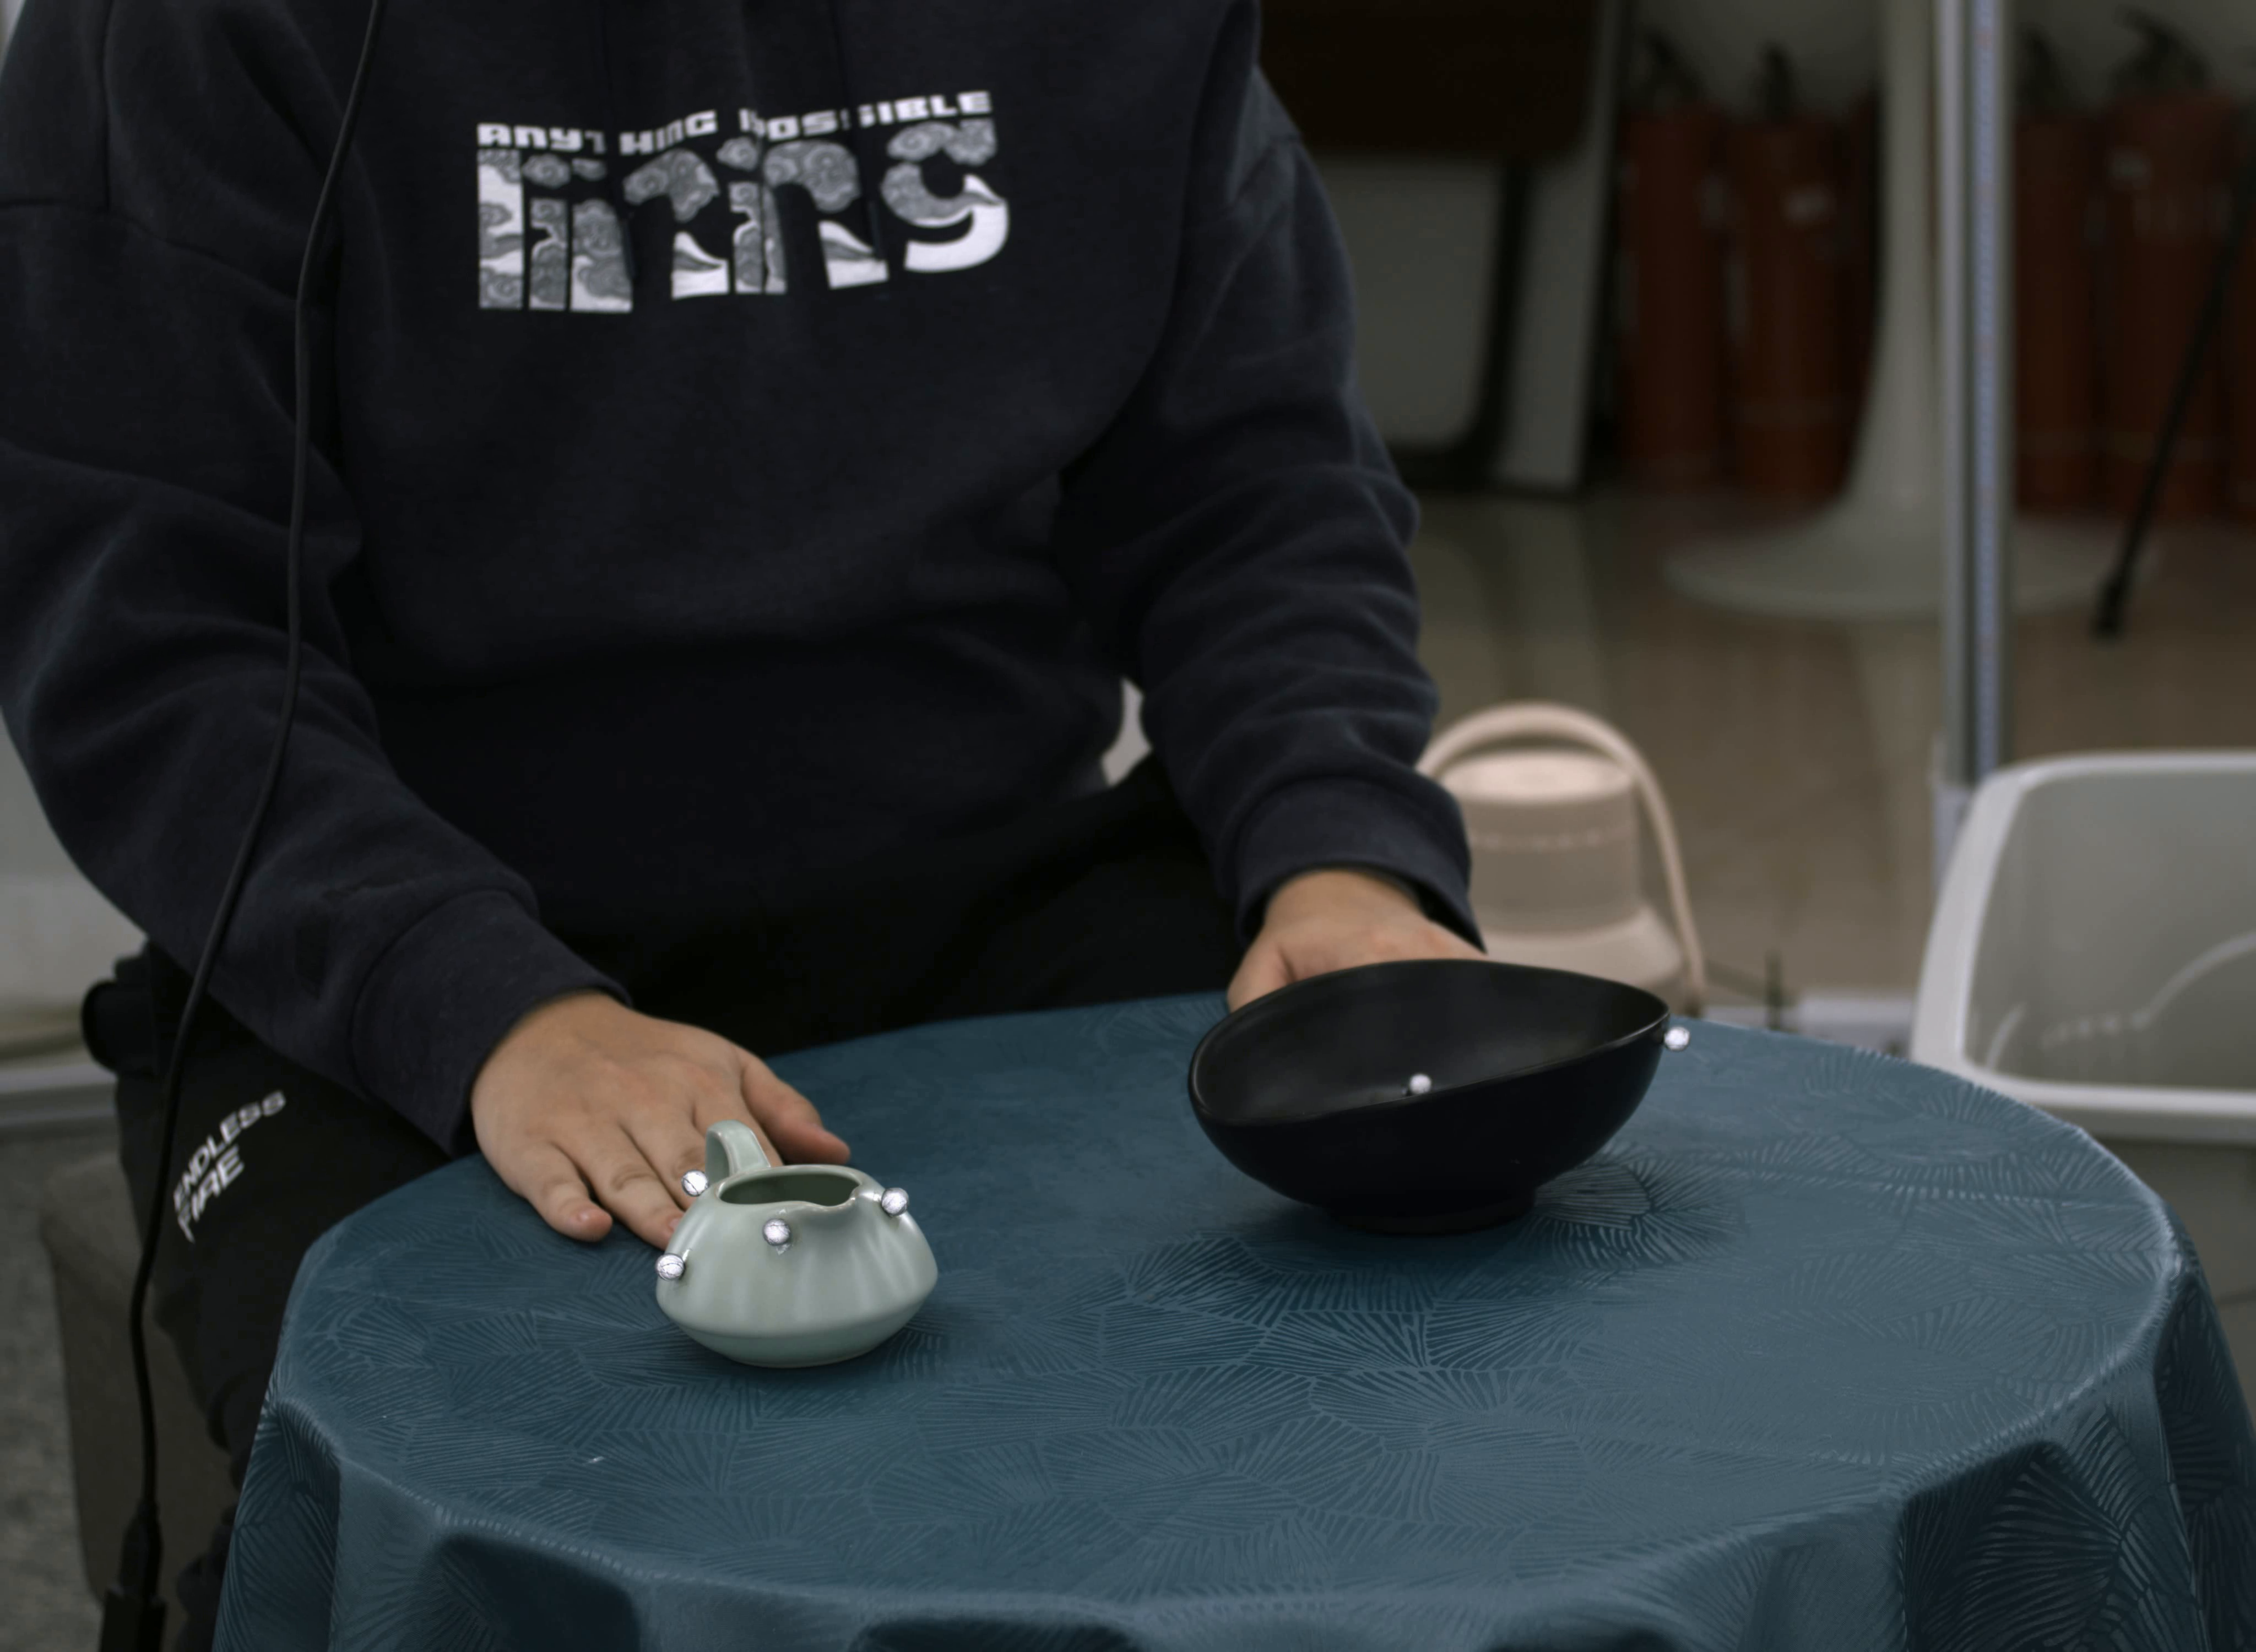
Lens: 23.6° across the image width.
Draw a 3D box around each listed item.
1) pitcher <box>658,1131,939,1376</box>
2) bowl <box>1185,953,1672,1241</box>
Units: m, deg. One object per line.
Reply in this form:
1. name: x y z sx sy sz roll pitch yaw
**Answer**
1. pitcher: -0.105 0.131 1.650 0.084 0.061 0.109 -9 12 -24
2. bowl: 0.099 0.092 1.733 0.166 0.067 0.139 -14 16 -33
